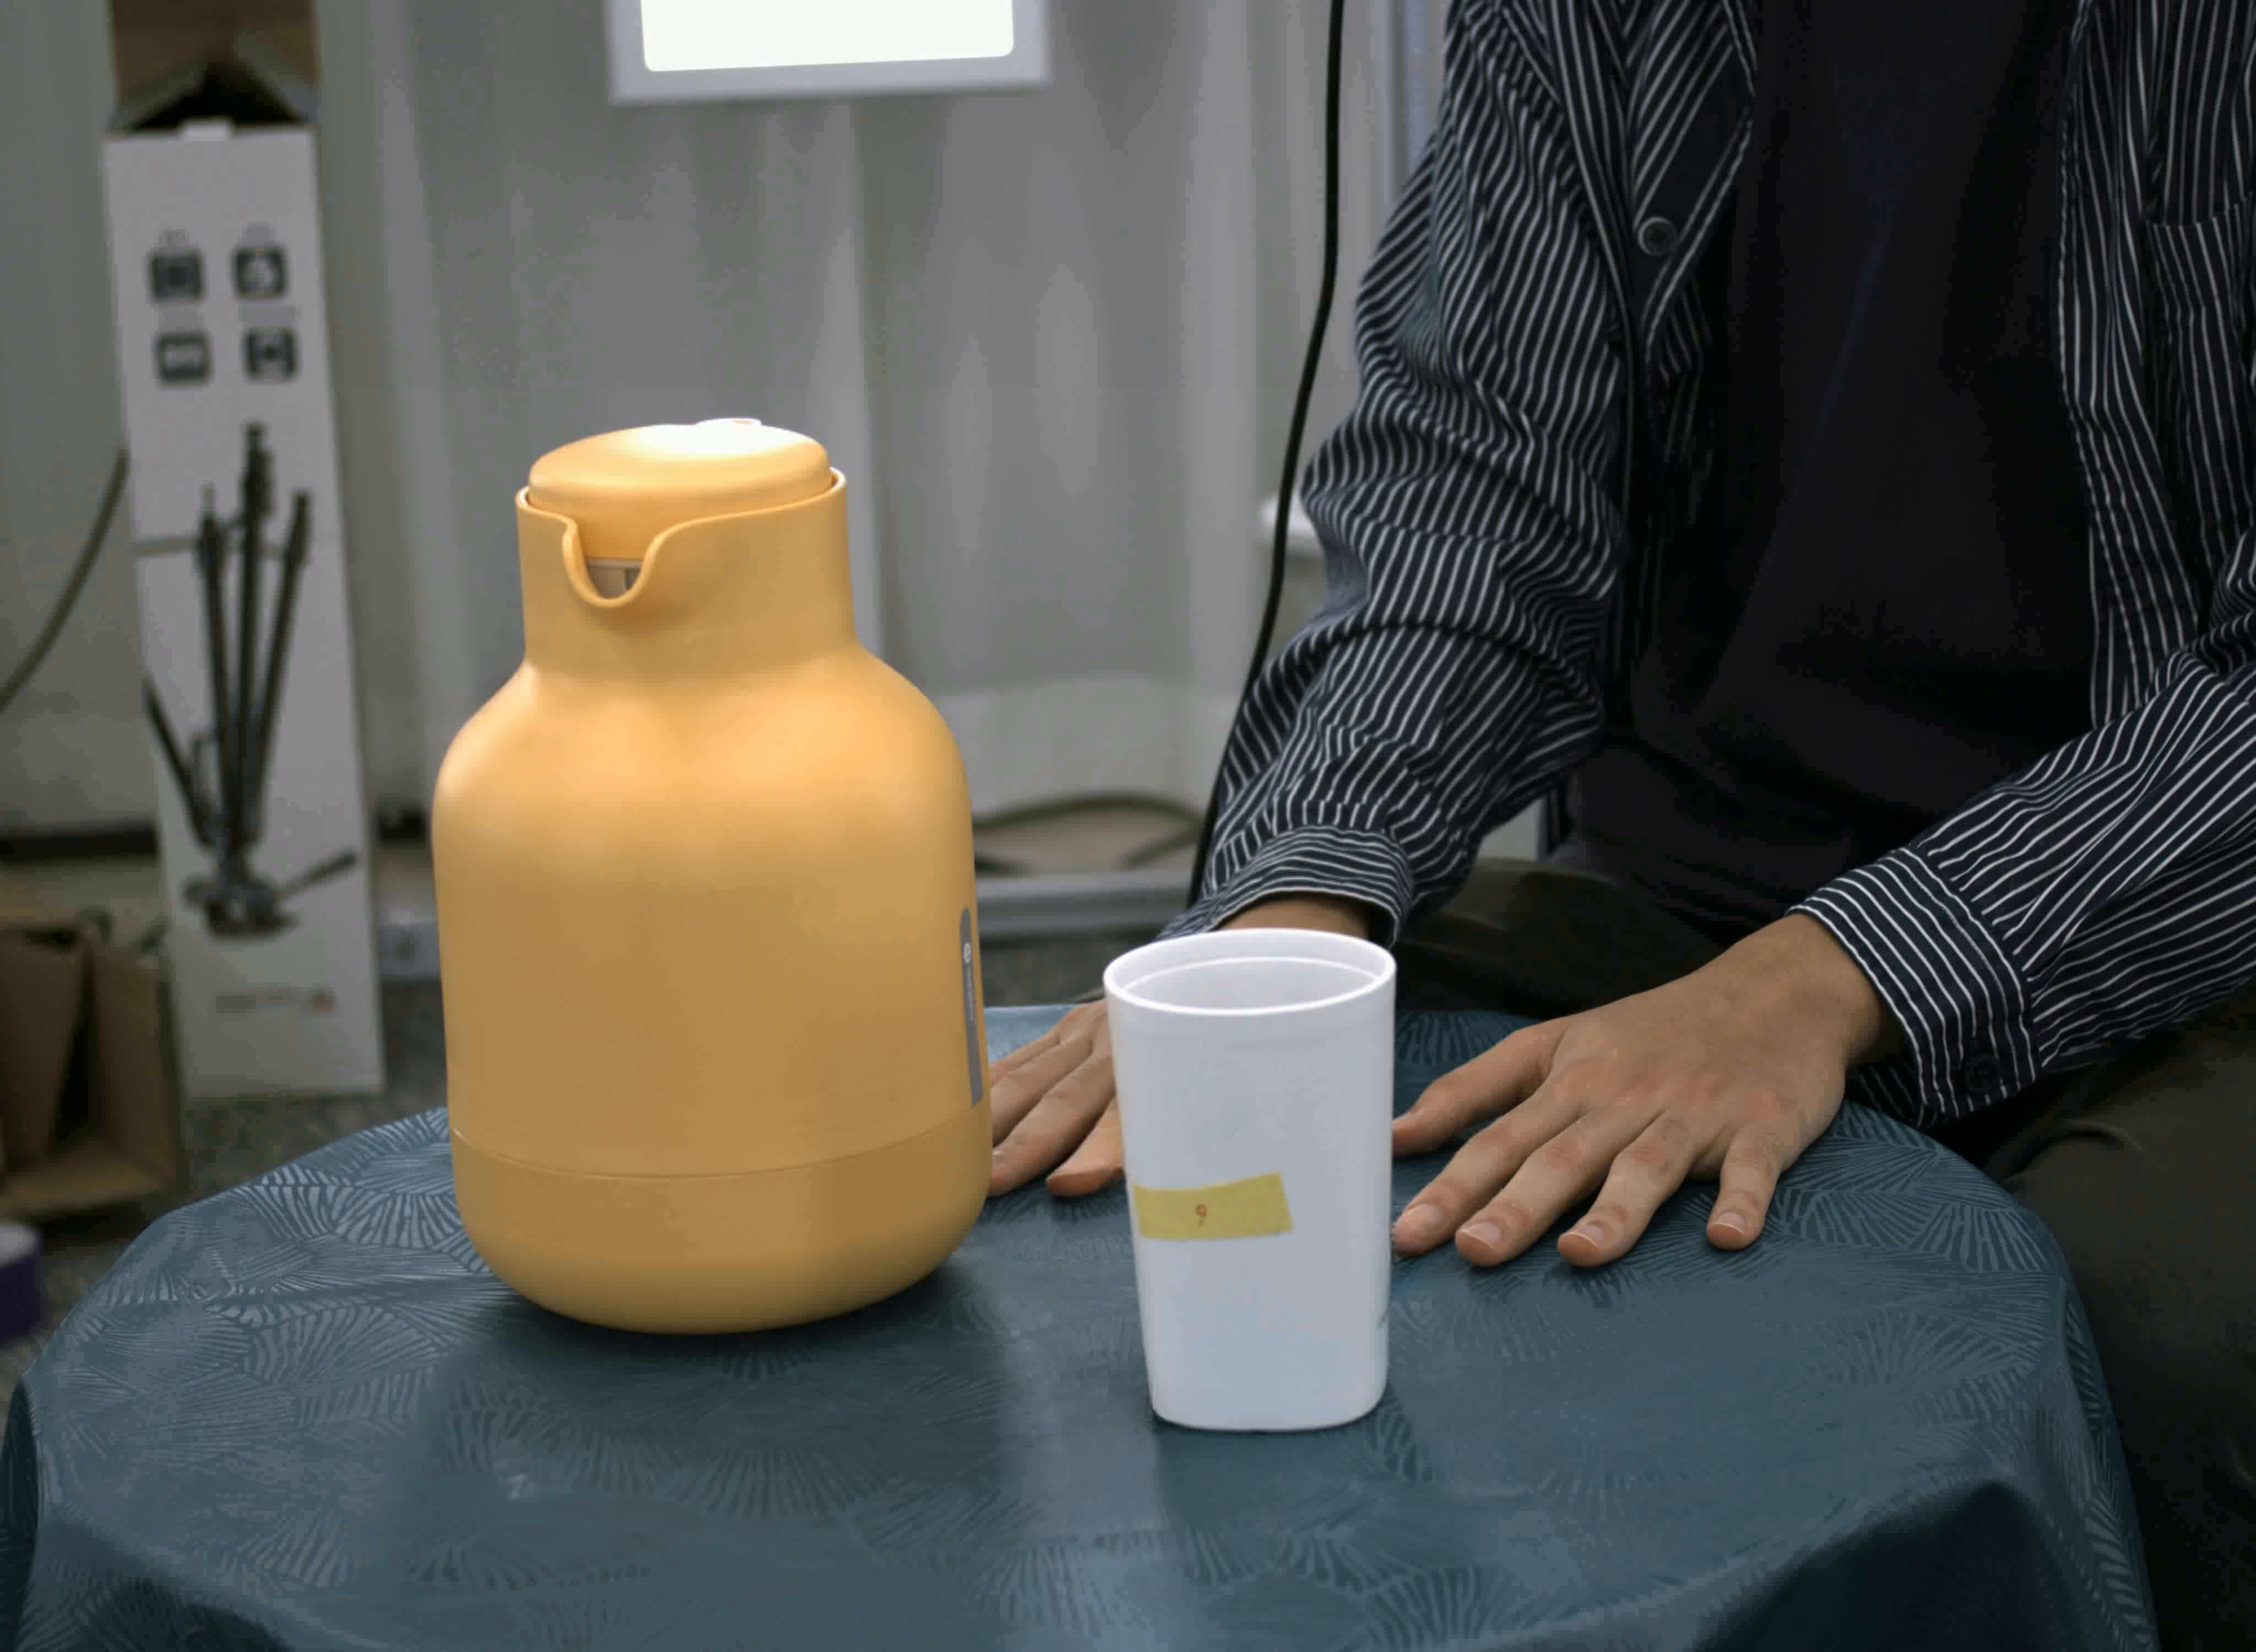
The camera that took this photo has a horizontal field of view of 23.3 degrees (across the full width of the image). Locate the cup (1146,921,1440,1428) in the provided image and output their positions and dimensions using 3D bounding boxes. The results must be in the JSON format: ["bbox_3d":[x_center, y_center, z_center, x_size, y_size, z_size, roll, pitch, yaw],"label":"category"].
[{"bbox_3d":[0.049,0.098,1.520,0.081,0.125,0.082,-3,13,0],"label":"cup"}]

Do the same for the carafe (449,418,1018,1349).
[{"bbox_3d":[-0.114,0.009,1.634,0.163,0.259,0.203,0,15,11],"label":"carafe"}]
